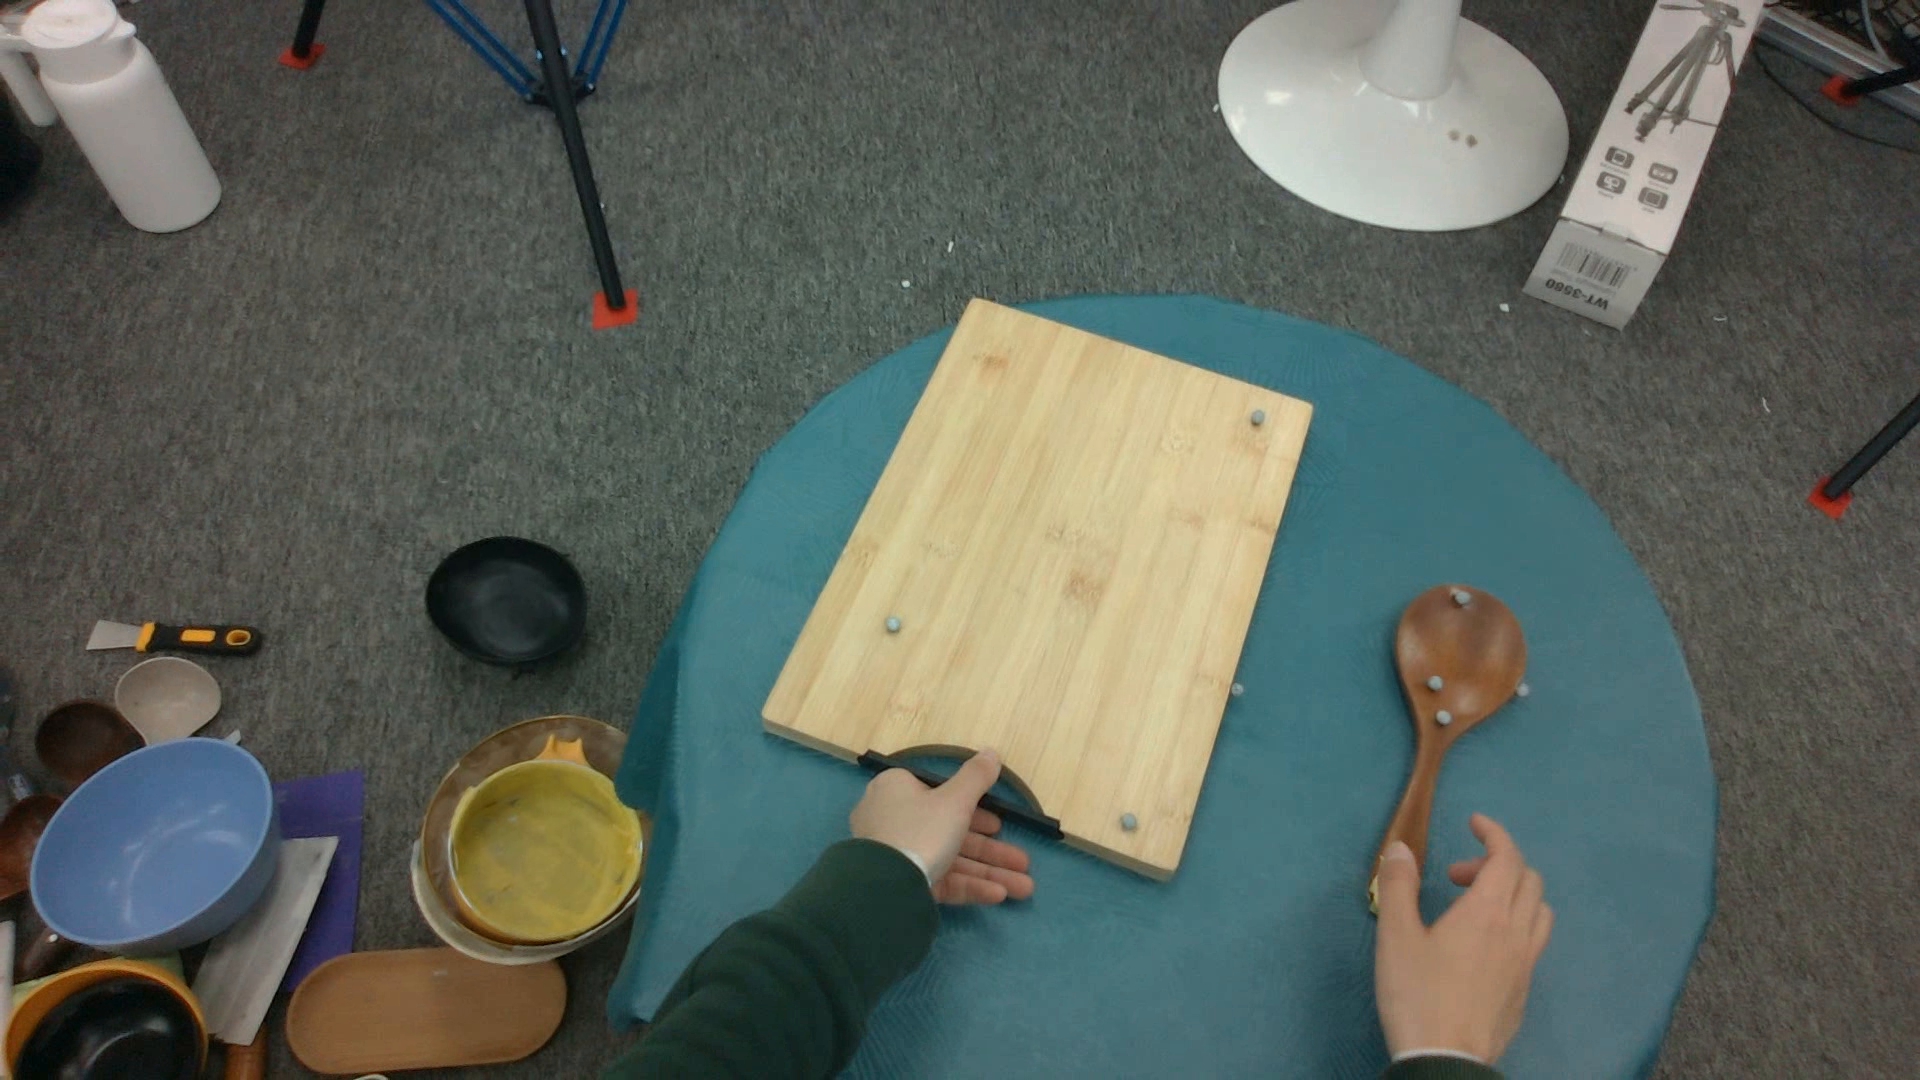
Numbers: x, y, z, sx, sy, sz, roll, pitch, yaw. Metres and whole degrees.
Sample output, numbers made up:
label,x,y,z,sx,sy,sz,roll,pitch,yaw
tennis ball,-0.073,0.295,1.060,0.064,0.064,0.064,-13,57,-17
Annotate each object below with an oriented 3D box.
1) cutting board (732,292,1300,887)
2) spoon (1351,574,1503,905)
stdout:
label,x,y,z,sx,sy,sz,roll,pitch,yaw
cutting board,0.049,0.009,0.830,0.250,0.023,0.350,18,57,8
spoon,0.258,0.108,0.781,0.075,0.017,0.217,22,57,8
